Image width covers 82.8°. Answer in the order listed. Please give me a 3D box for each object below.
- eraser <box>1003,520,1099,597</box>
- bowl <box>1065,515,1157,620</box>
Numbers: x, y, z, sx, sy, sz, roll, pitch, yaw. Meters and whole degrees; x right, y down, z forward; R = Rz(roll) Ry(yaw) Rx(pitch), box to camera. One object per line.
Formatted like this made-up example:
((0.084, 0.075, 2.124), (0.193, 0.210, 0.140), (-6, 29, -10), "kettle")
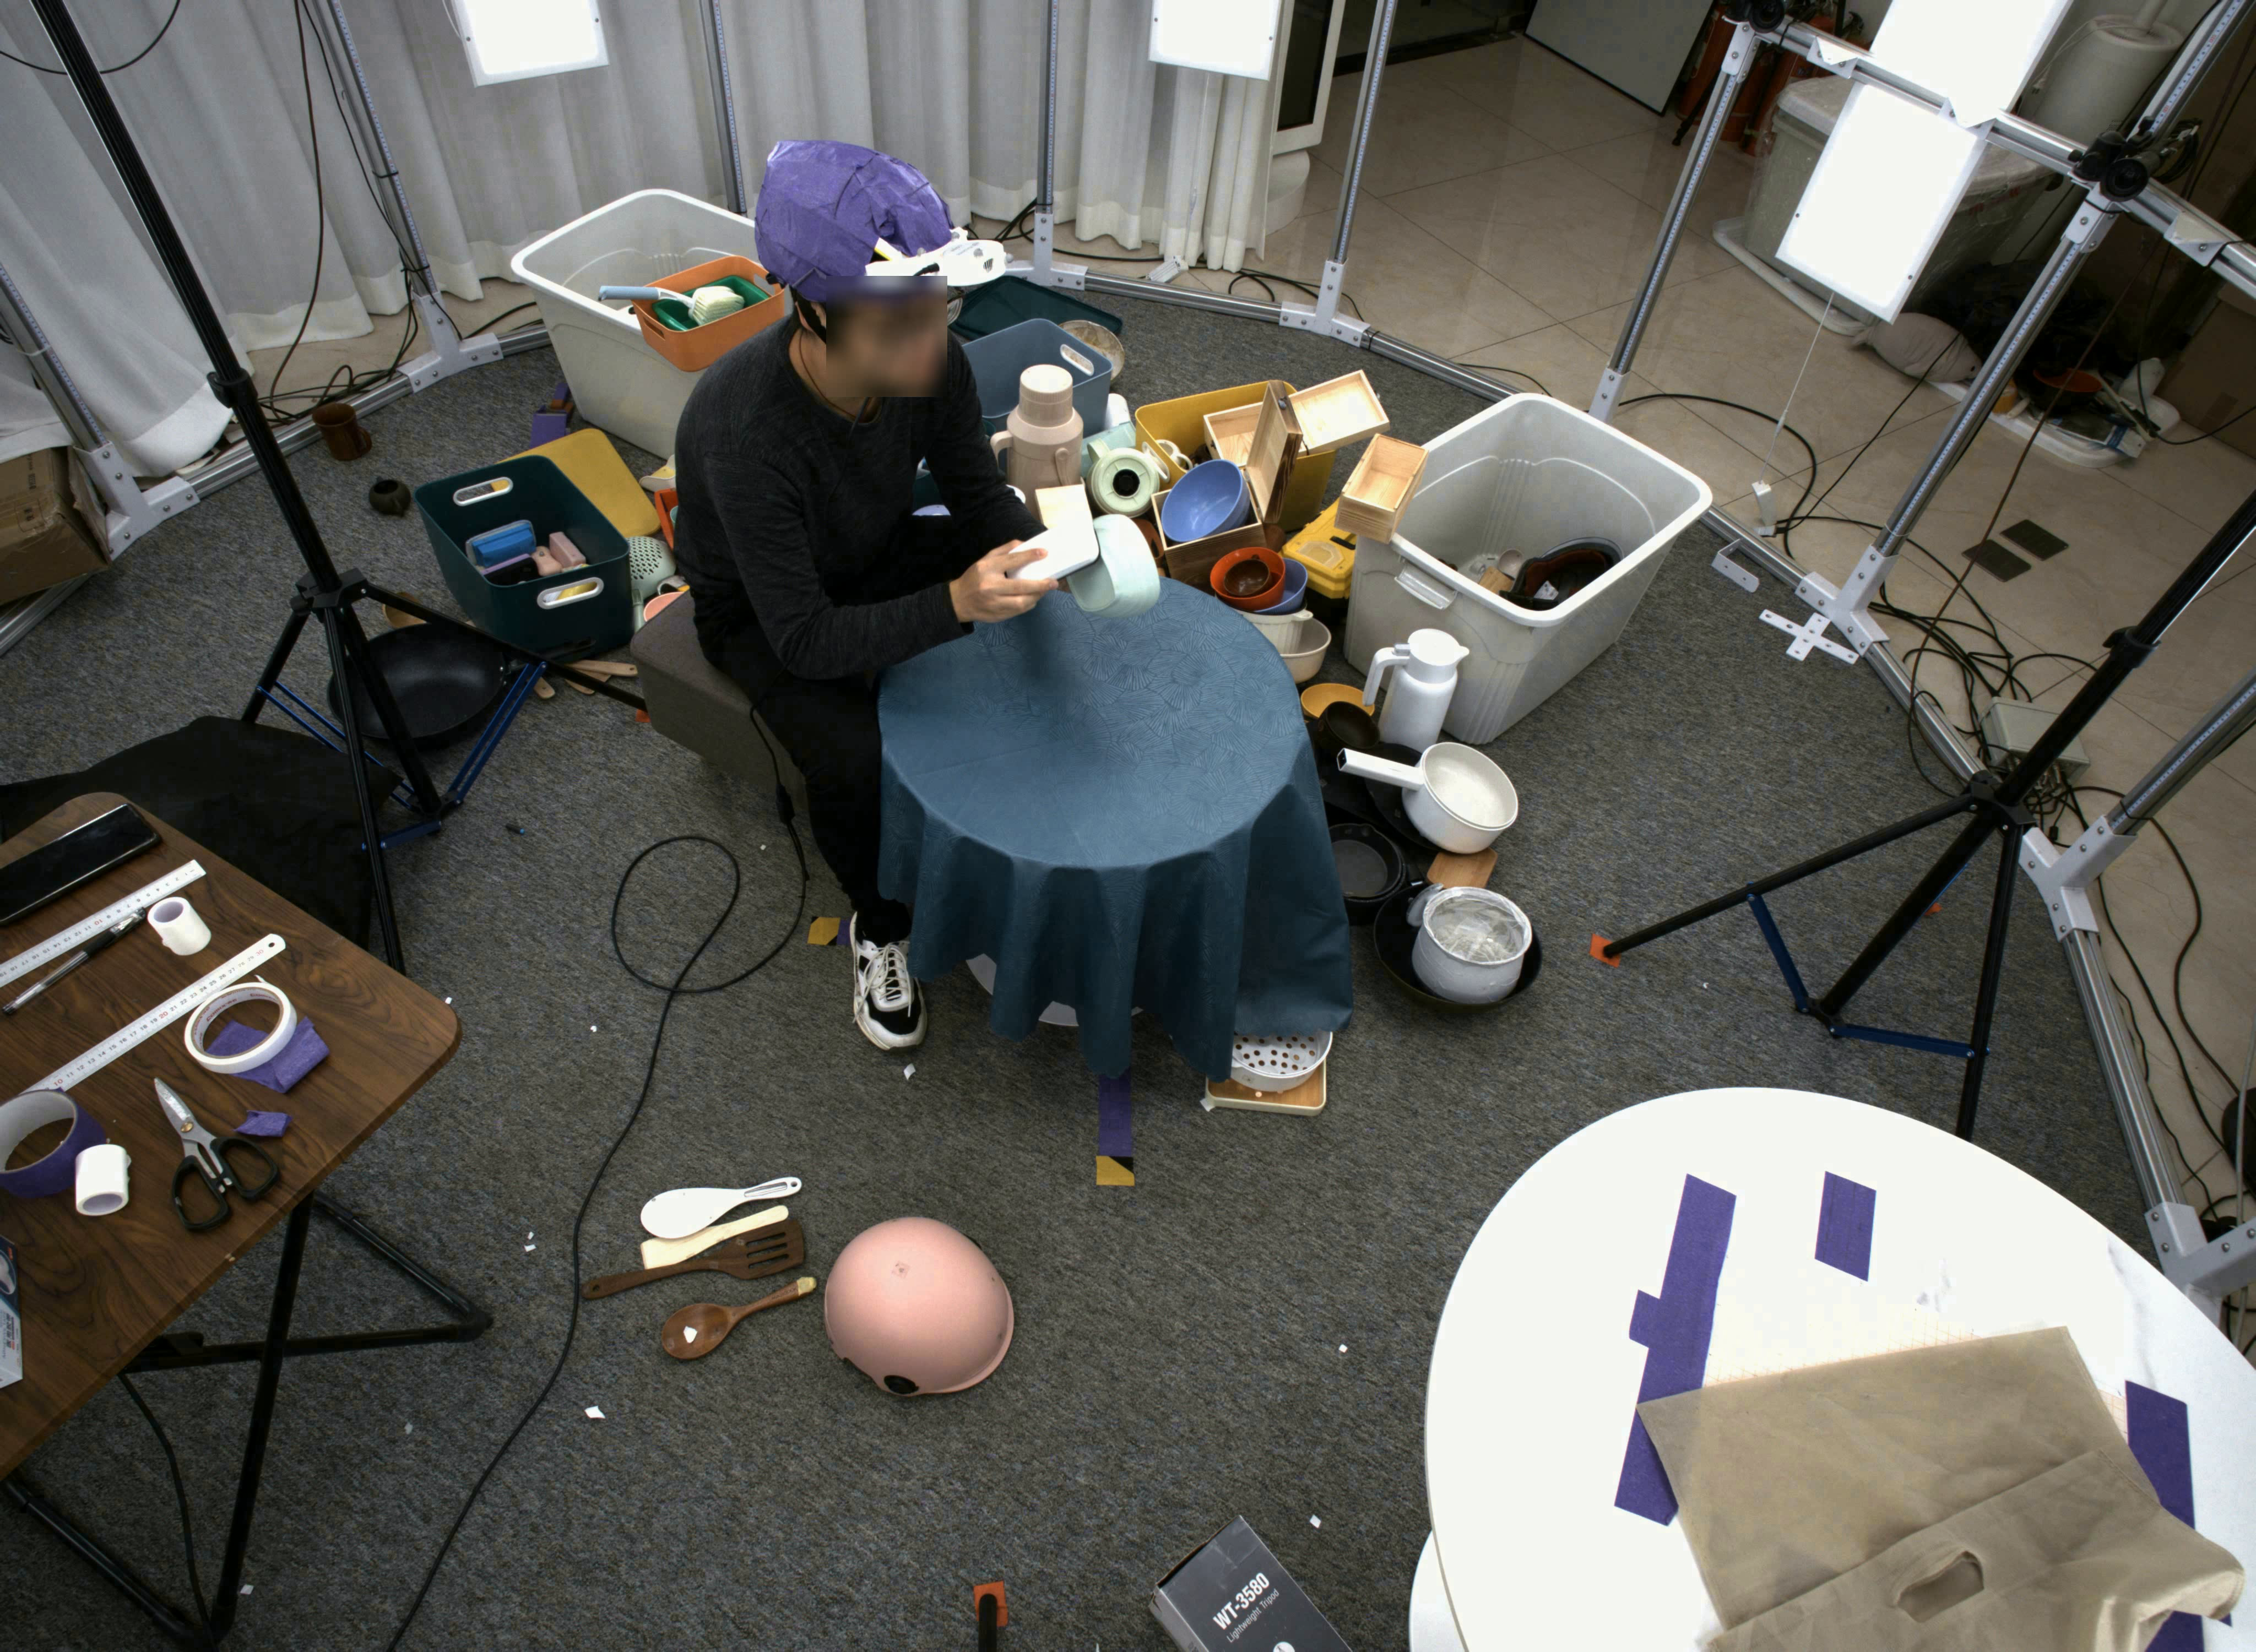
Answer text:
((-0.100, -0.344, 1.655), (0.131, 0.034, 0.064), (-20, 69, 23), "eraser")
((-0.034, -0.332, 1.691), (0.059, 0.148, 0.154), (-28, 57, -37), "bowl")
